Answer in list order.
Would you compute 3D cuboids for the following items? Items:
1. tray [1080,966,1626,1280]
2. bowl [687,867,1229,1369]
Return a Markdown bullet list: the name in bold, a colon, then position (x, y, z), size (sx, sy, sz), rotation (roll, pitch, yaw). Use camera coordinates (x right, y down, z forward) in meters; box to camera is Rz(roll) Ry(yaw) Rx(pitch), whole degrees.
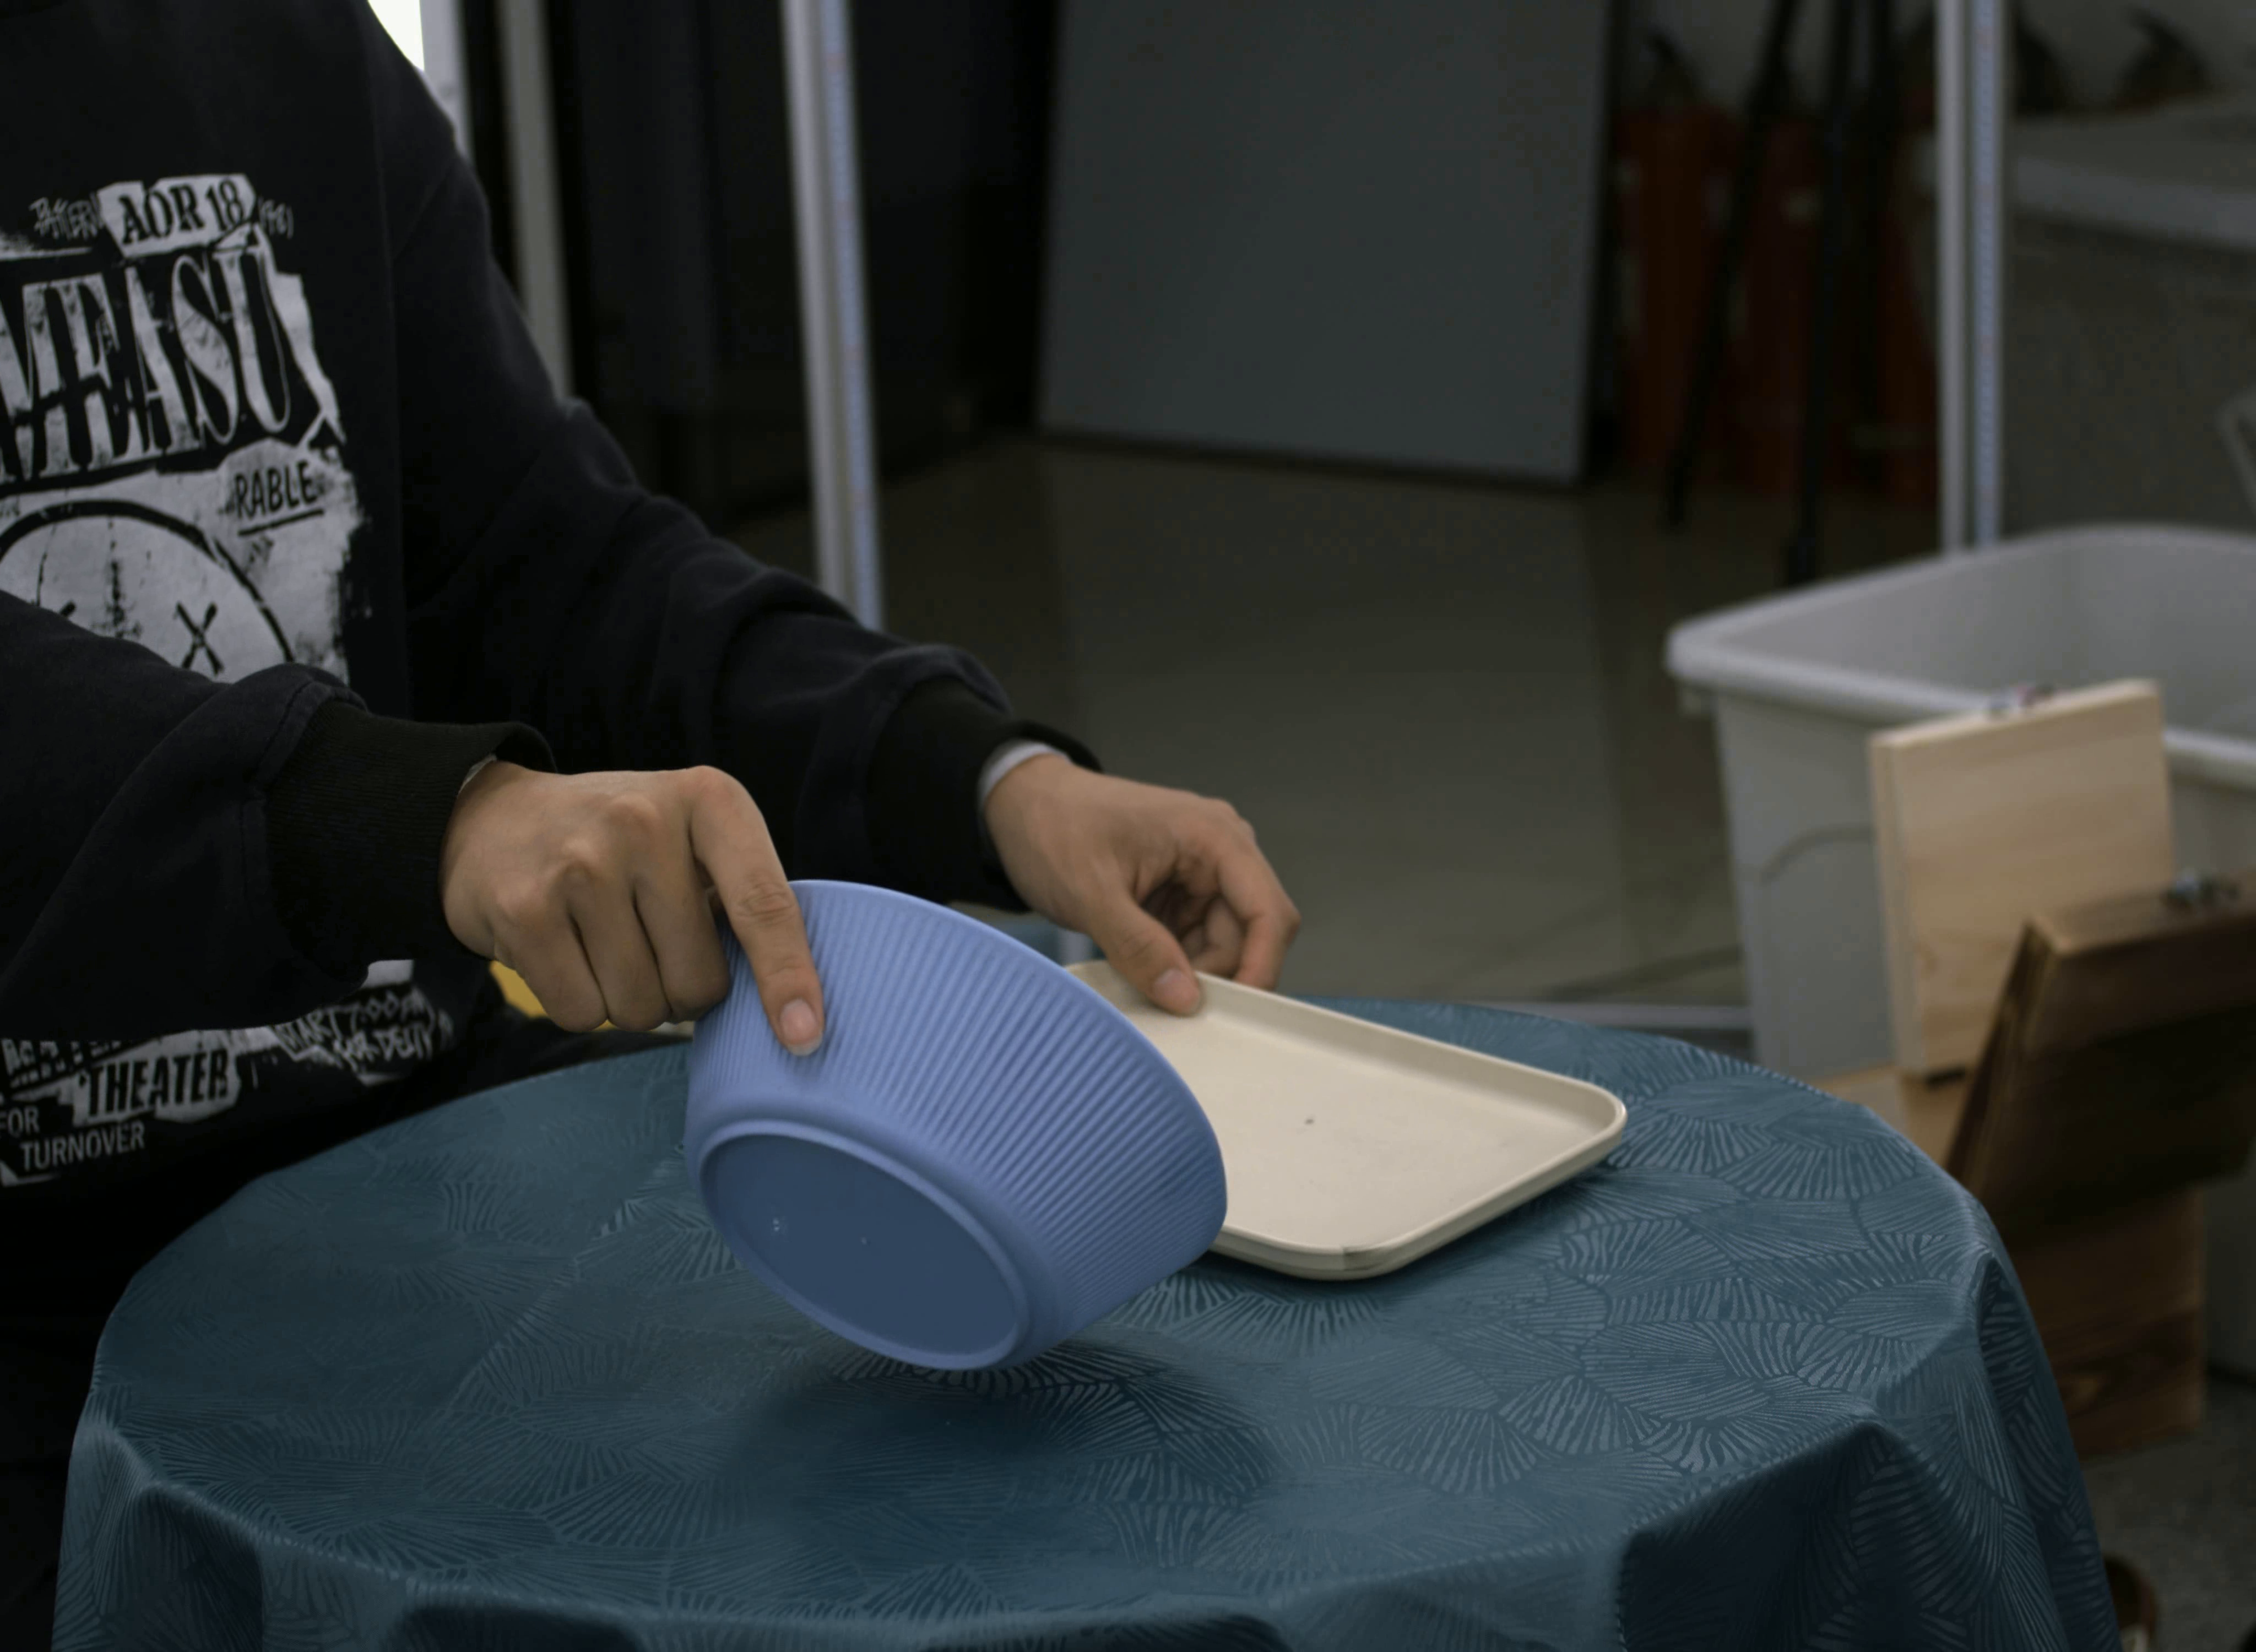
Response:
- **tray**: position (0.032, 0.097, 1.778), size (0.241, 0.017, 0.168), rotation (14, 24, 38)
- **bowl**: position (-0.062, 0.096, 1.567), size (0.177, 0.175, 0.070), rotation (6, 48, 34)
